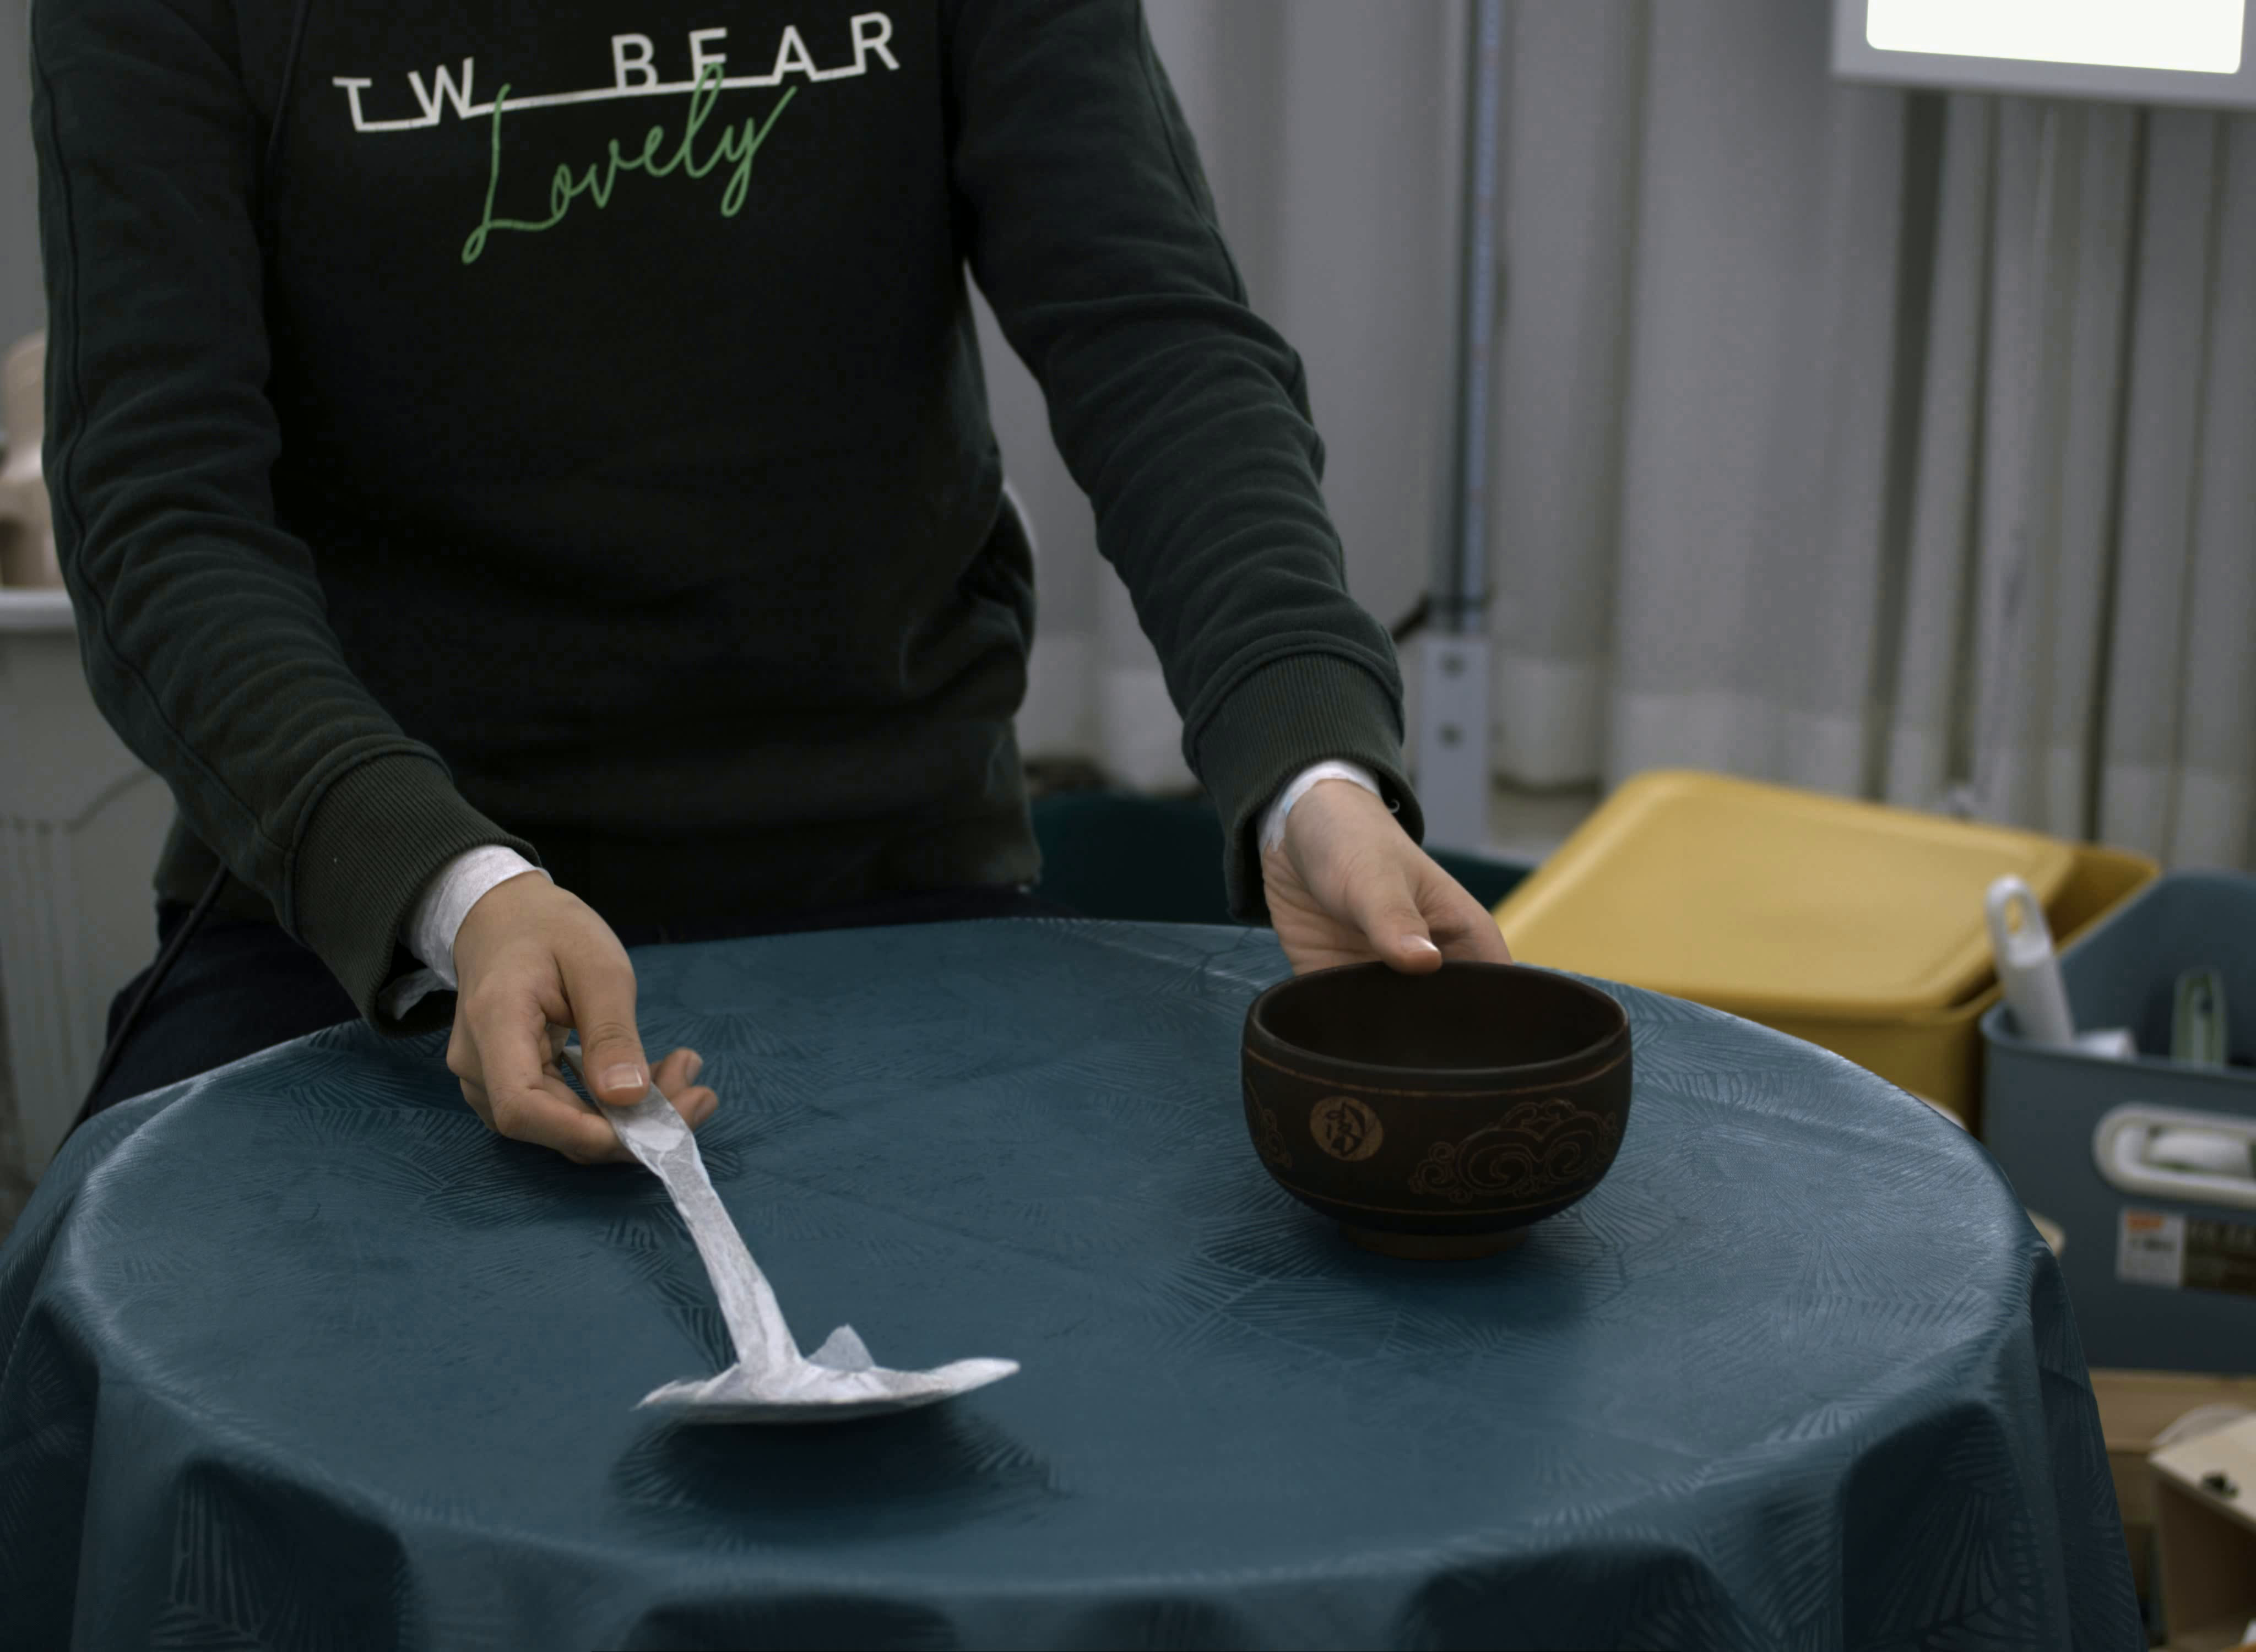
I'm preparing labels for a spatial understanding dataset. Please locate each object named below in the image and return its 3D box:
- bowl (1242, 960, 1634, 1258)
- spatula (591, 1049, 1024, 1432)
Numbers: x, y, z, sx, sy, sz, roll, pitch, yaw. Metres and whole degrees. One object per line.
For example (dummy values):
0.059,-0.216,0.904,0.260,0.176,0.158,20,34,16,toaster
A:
0.093,0.088,1.585,0.117,0.070,0.117,1,14,0,bowl
-0.118,0.112,1.536,0.099,0.045,0.361,-4,20,-16,spatula
